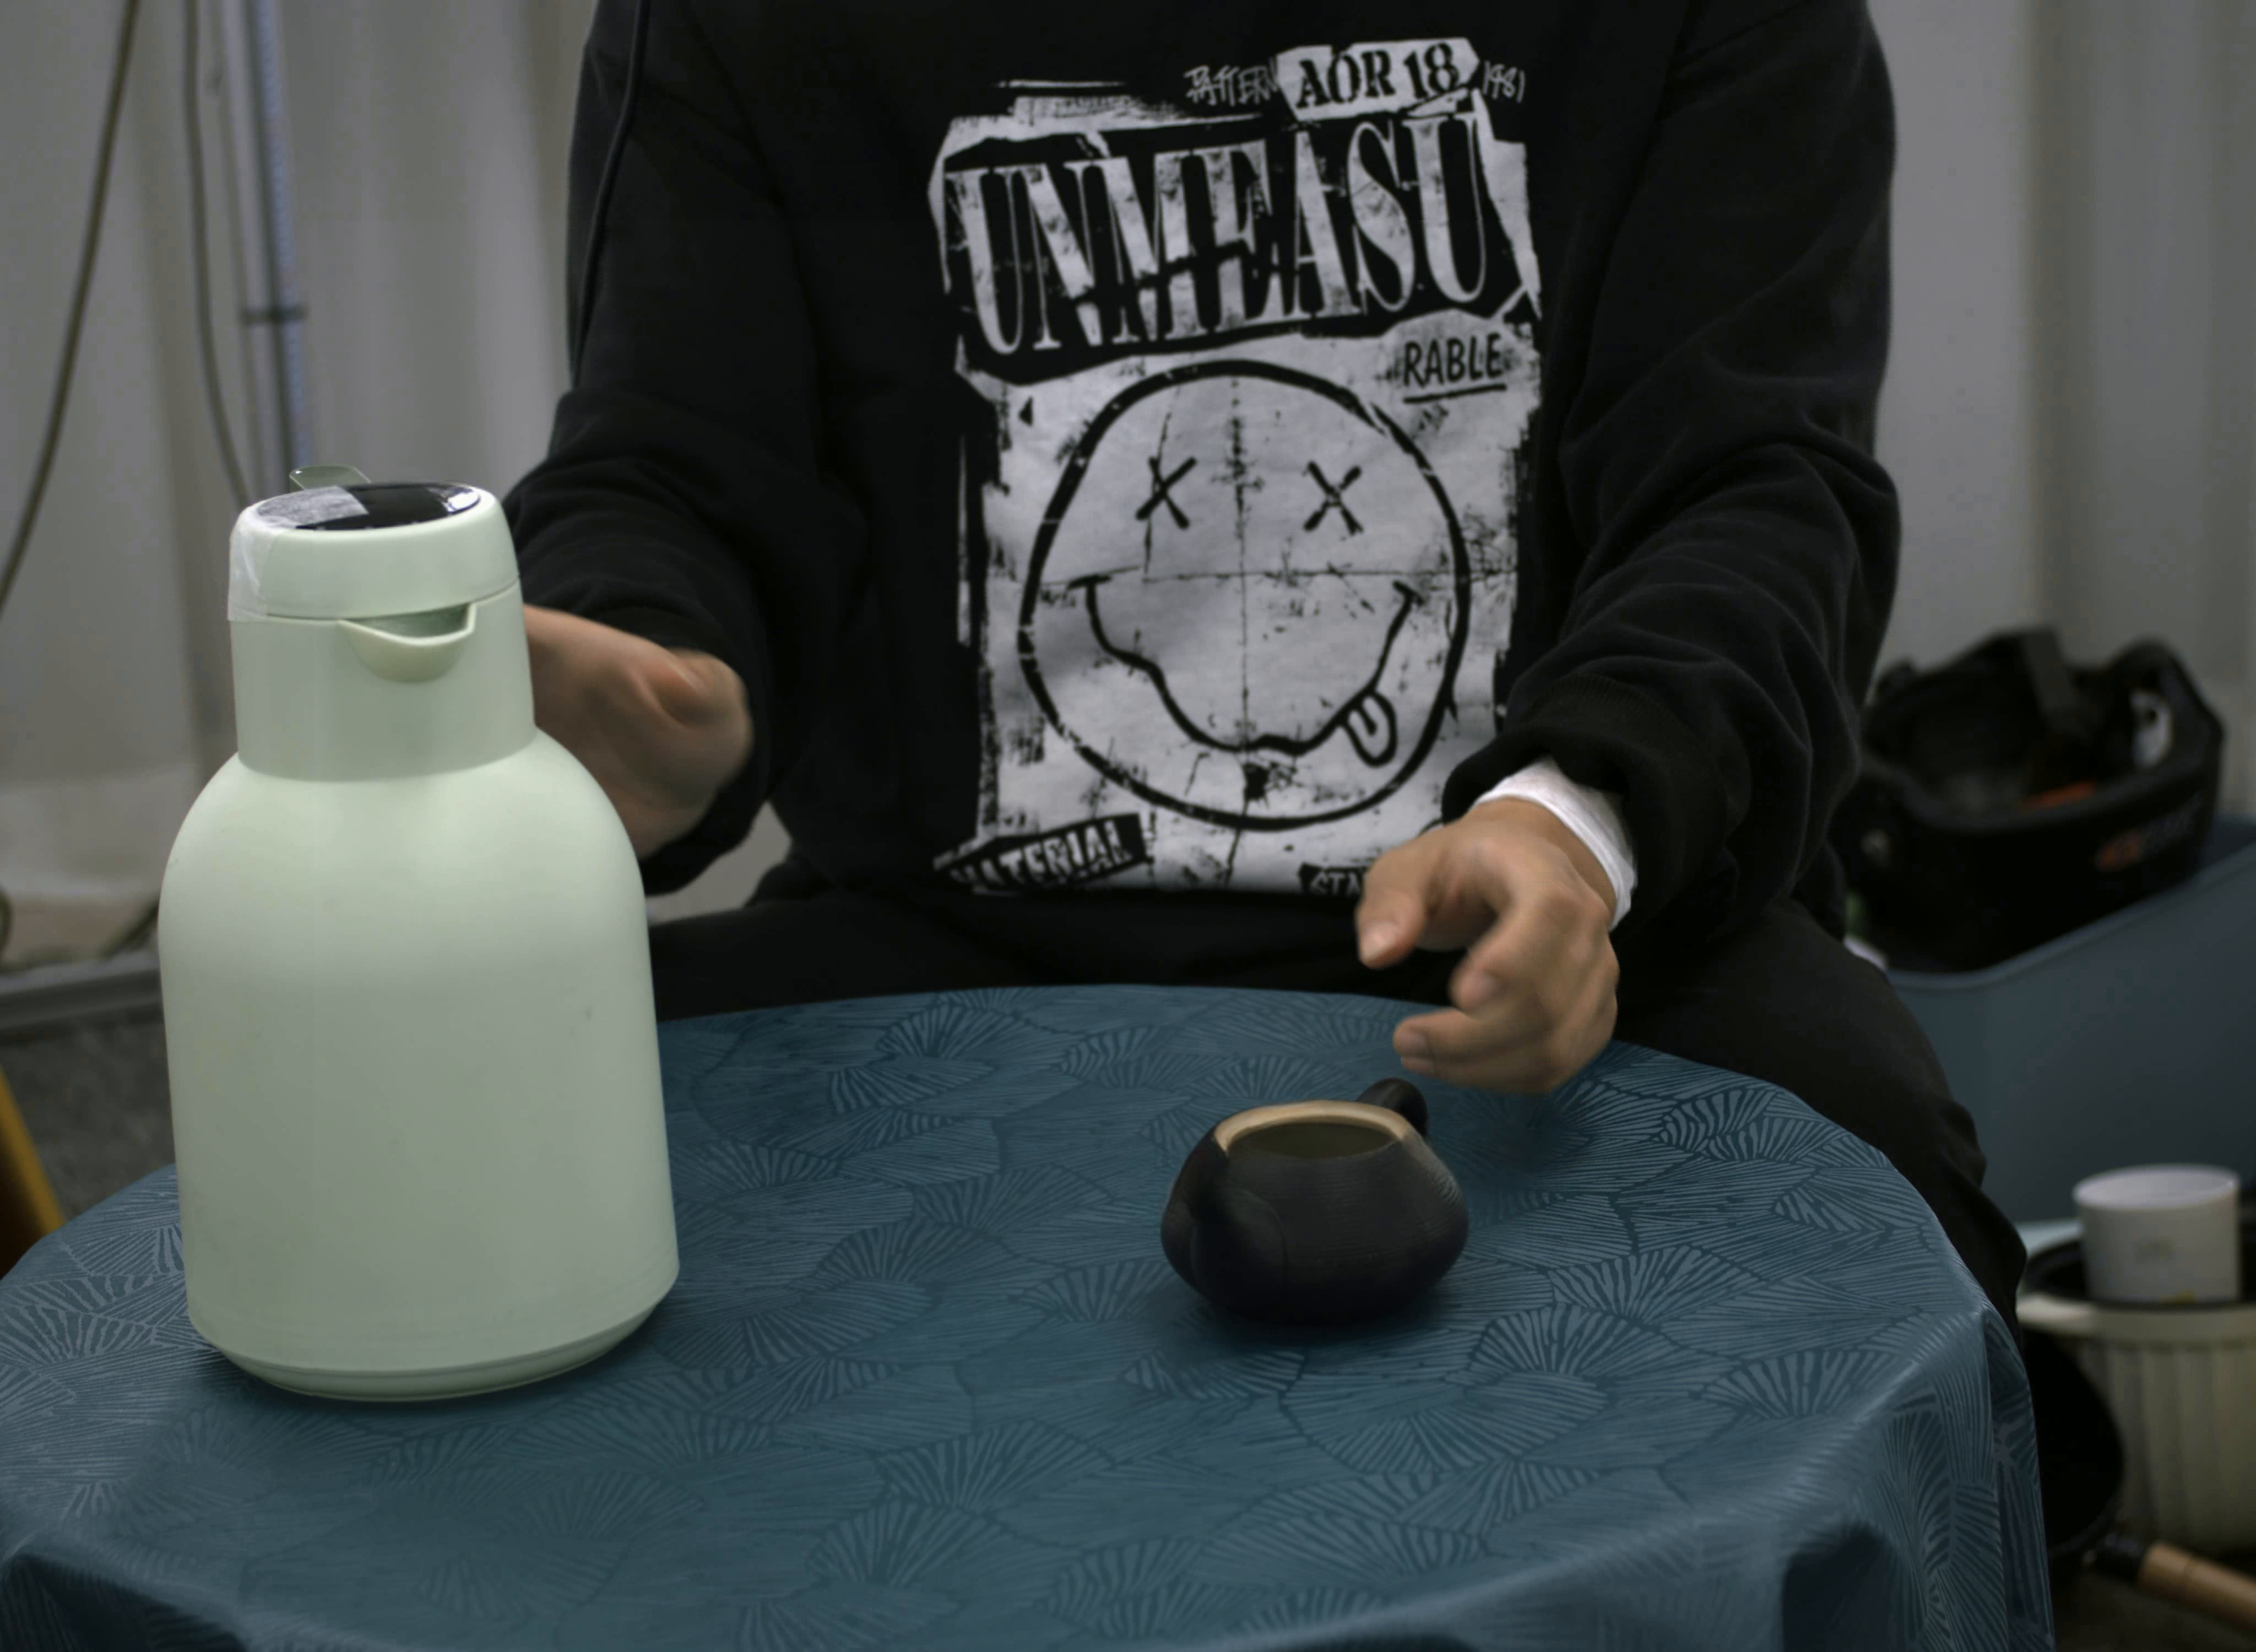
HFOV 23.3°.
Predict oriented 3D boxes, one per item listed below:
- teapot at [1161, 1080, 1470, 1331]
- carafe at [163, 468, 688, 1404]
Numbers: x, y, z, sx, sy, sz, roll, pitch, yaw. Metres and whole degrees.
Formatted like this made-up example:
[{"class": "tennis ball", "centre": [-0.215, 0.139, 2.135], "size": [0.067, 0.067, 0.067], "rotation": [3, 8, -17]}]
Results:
[{"class": "teapot", "centre": [0.055, 0.114, 1.603], "size": [0.091, 0.053, 0.133], "rotation": [8, 19, 30]}, {"class": "carafe", "centre": [-0.215, 0.026, 1.606], "size": [0.143, 0.256, 0.188], "rotation": [-9, 12, -21]}]
